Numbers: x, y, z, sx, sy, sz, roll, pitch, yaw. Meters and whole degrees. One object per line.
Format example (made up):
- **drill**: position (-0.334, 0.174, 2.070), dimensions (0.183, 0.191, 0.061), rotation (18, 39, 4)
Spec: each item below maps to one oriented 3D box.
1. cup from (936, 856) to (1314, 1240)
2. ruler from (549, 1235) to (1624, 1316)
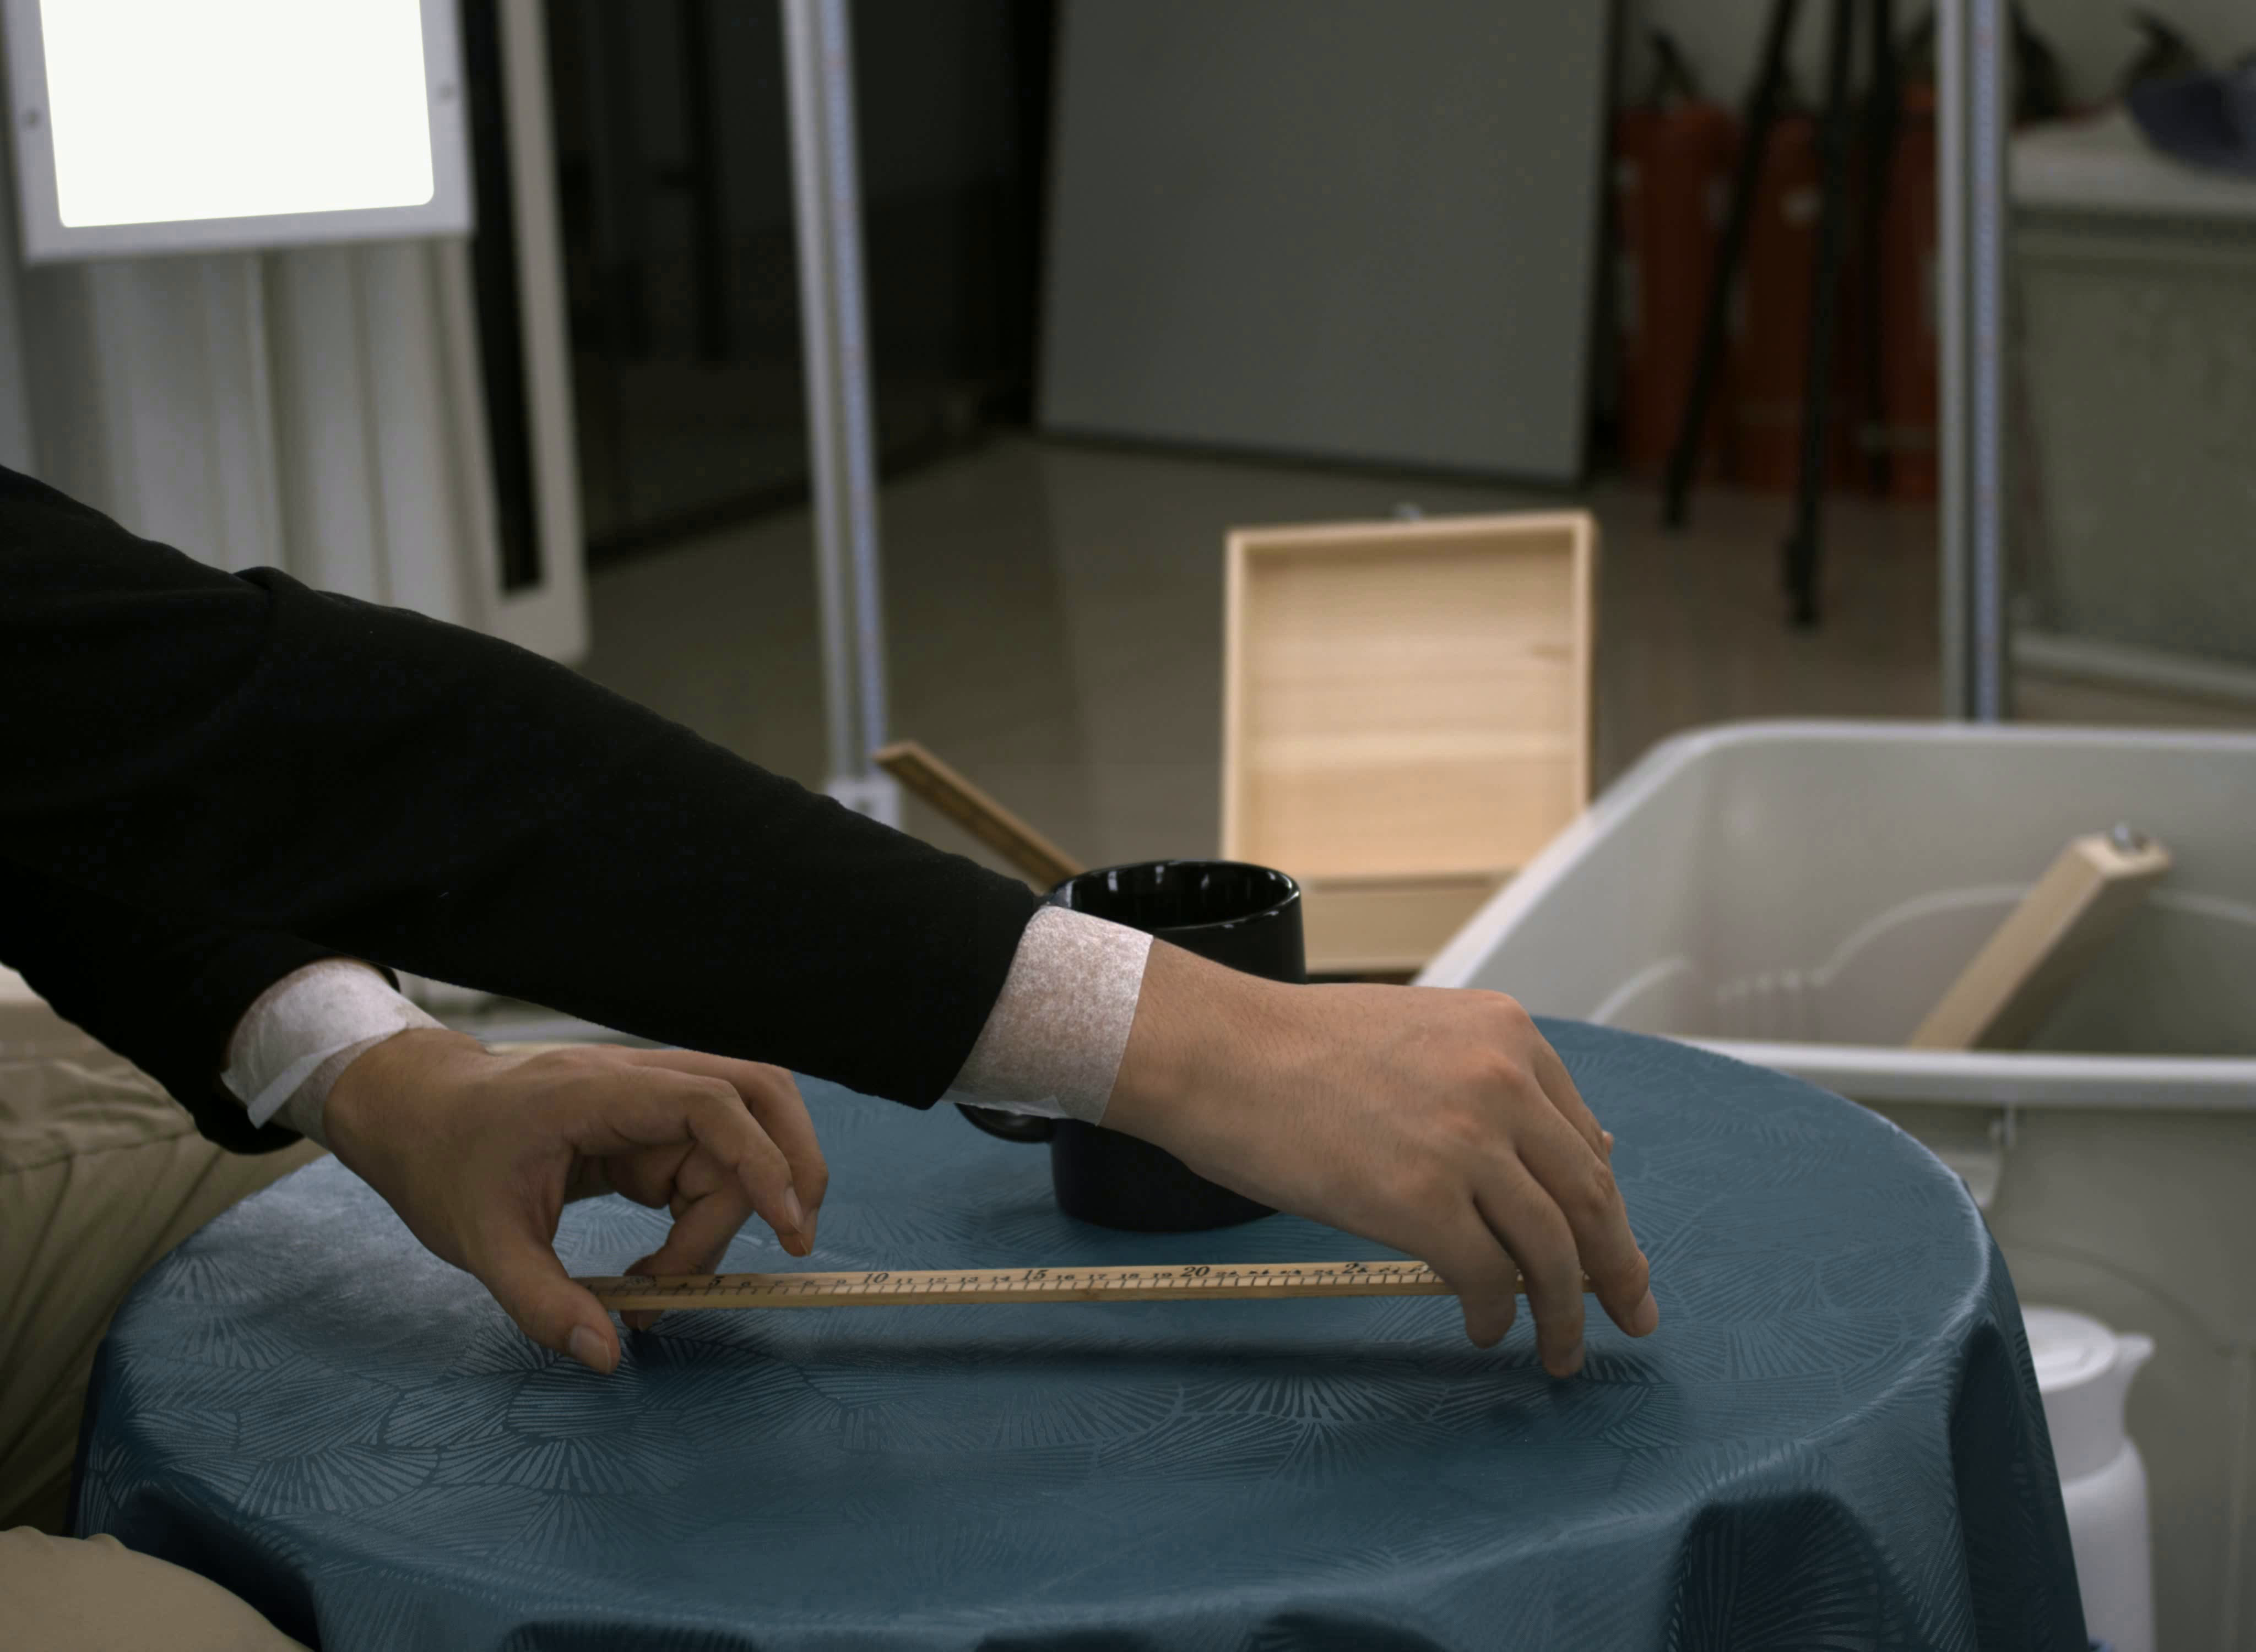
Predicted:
- **cup**: position (-0.002, 0.072, 1.756), dimensions (0.122, 0.106, 0.088), rotation (-3, 15, 9)
- **ruler**: position (-0.015, 0.136, 1.622), dimensions (0.330, 0.022, 0.027), rotation (-2, 8, 14)
